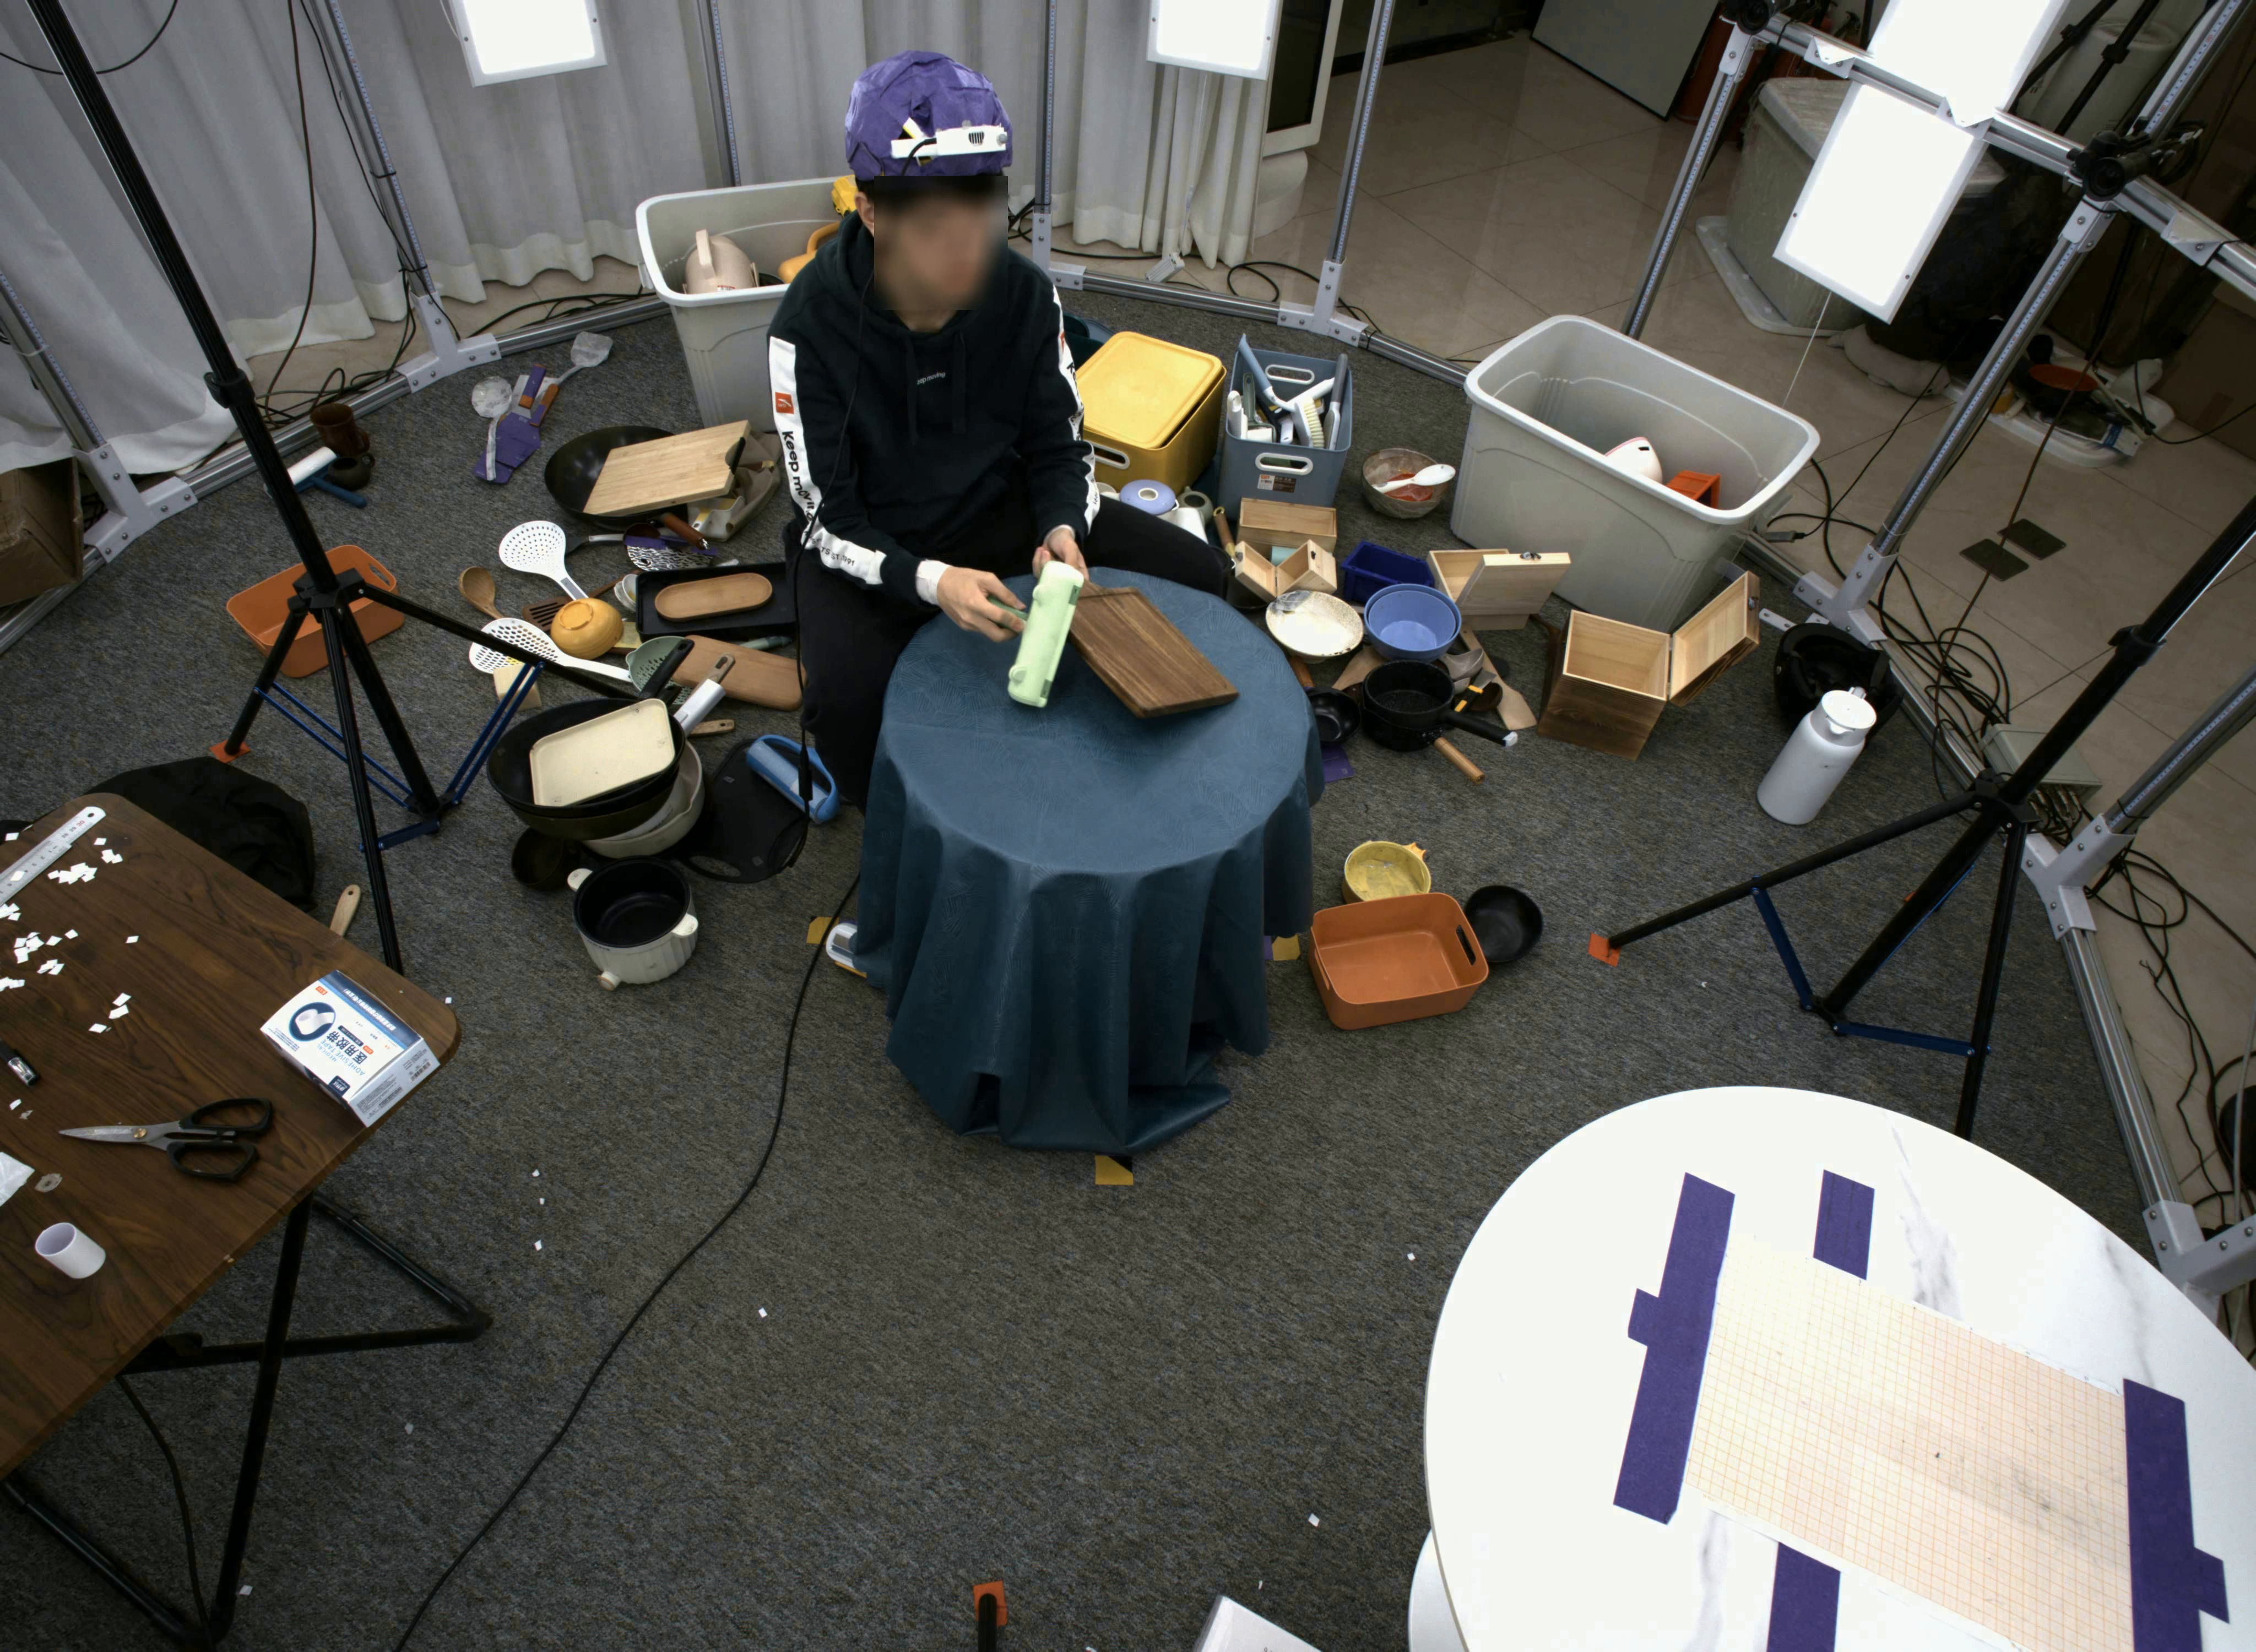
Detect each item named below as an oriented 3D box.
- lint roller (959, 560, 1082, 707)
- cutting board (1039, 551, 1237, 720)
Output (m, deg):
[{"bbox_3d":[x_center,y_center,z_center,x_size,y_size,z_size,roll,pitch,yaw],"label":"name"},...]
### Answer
[{"bbox_3d":[-0.169,-0.285,1.778,0.184,0.196,0.082,24,18,16],"label":"lint roller"},{"bbox_3d":[-0.016,-0.284,1.844,0.201,0.023,0.358,-15,53,-42],"label":"cutting board"}]
